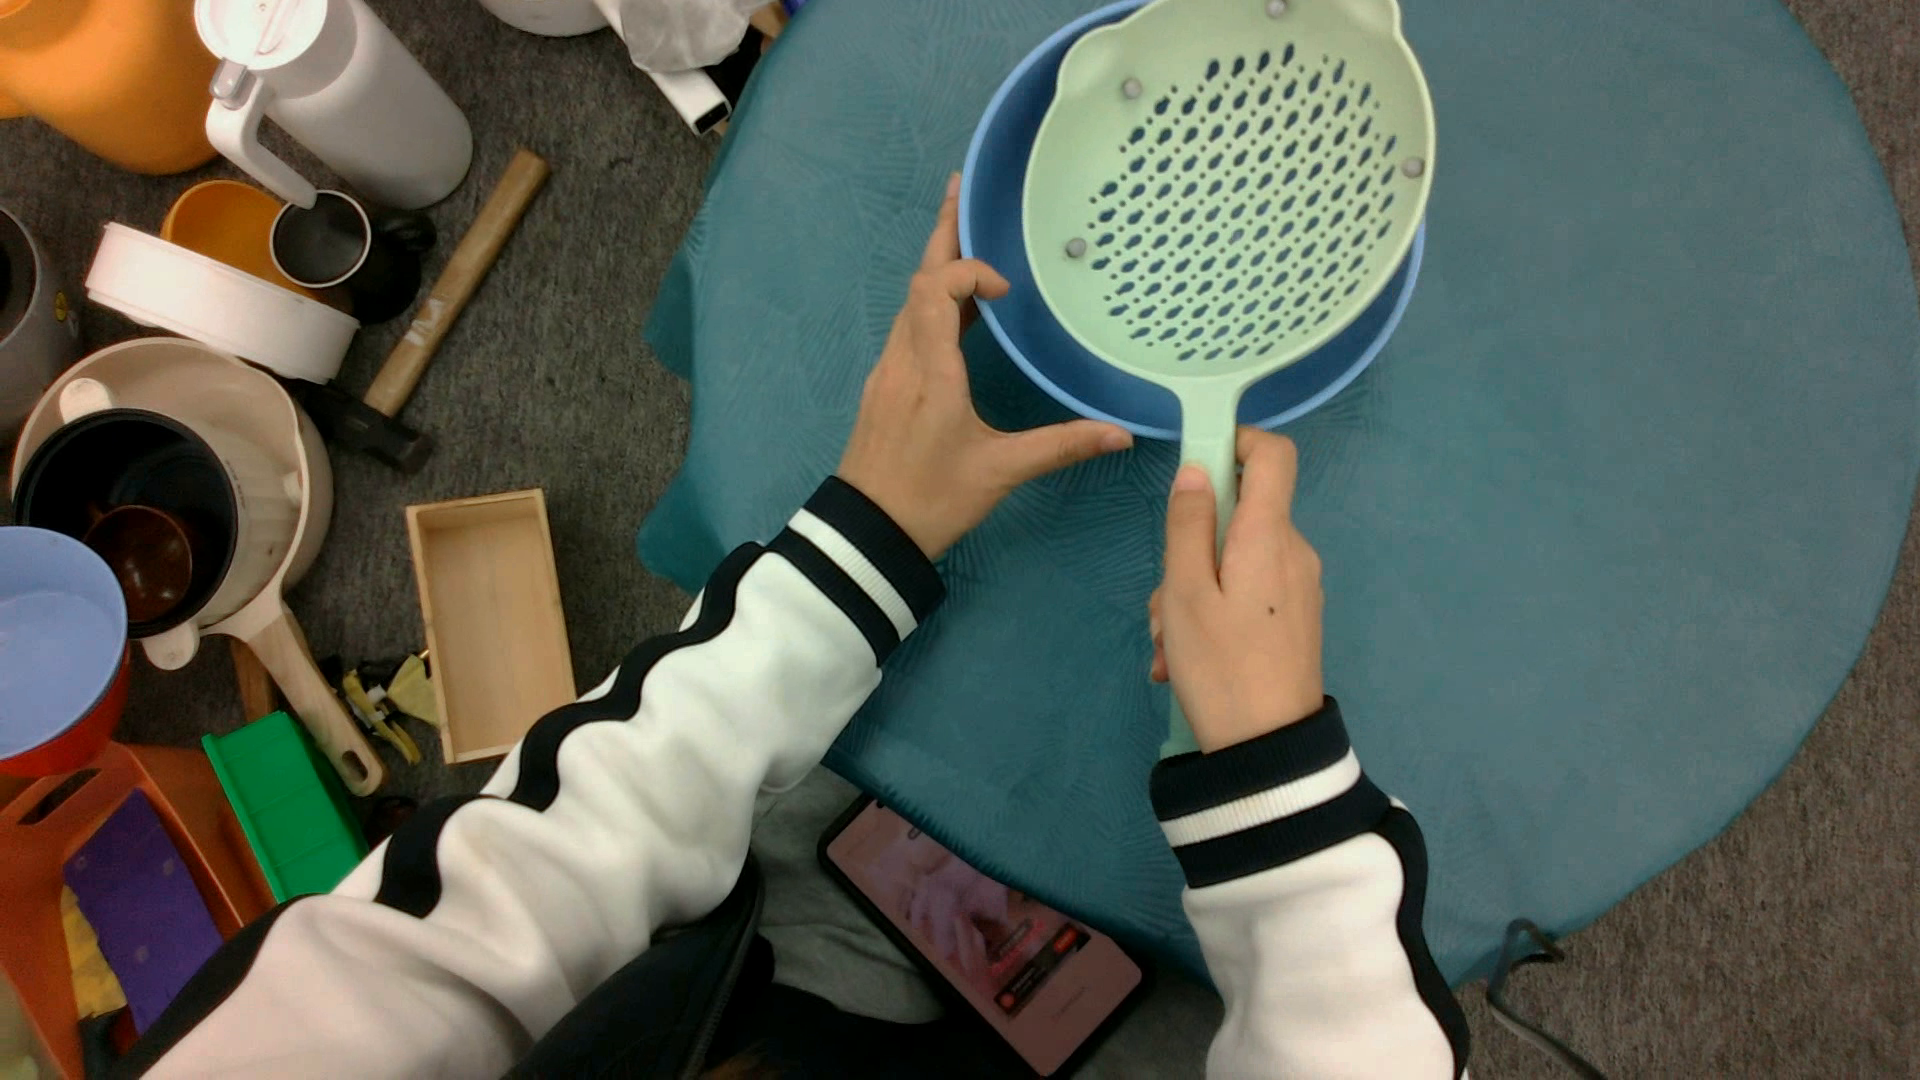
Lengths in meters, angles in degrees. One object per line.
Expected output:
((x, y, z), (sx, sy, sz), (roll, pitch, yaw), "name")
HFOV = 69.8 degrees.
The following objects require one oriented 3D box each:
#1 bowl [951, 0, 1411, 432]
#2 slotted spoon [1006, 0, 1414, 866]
((0.094, -0.138, 0.629), (0.196, 0.095, 0.196), (0, 84, -1), "bowl")
((0.098, -0.053, 0.557), (0.169, 0.075, 0.359), (-1, 74, 27), "slotted spoon")
